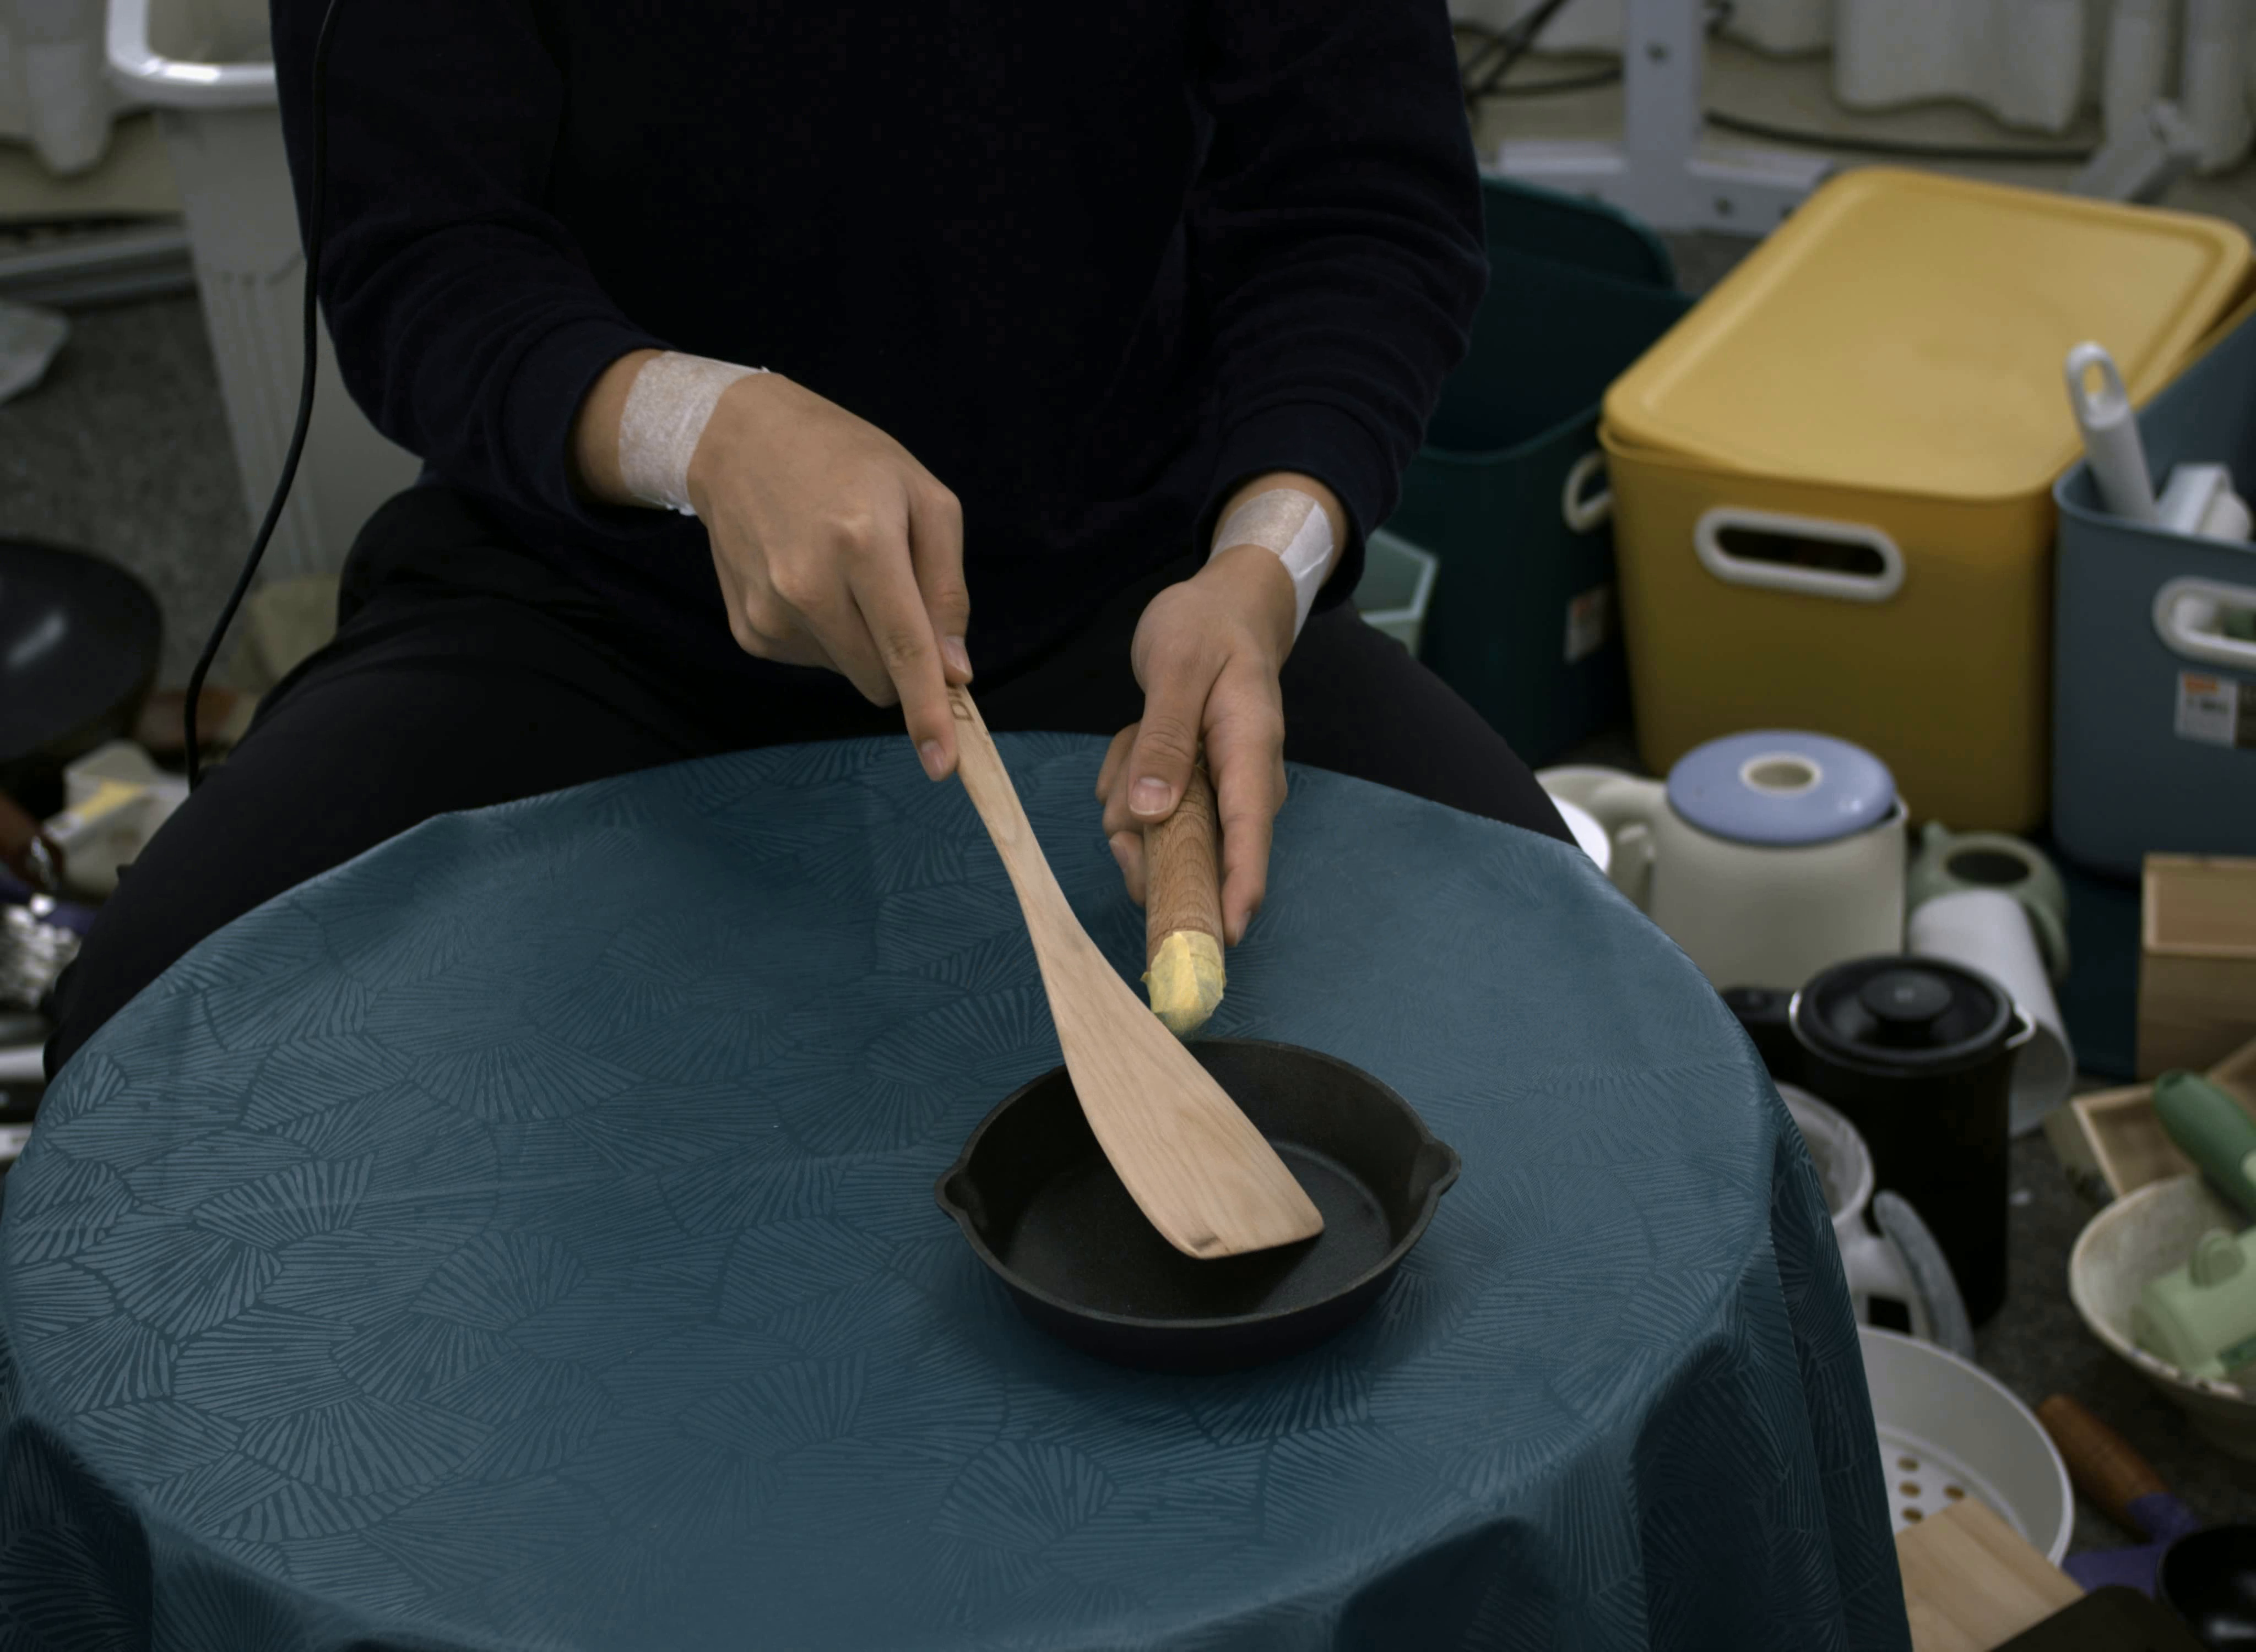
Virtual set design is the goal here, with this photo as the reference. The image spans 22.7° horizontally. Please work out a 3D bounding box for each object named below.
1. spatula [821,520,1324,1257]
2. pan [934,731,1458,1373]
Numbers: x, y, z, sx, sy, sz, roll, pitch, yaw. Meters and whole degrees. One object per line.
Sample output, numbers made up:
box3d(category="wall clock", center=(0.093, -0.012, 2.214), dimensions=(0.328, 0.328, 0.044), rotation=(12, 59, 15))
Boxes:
box3d(category="spatula", center=(-0.028, 0.017, 1.876), dimensions=(0.080, 0.016, 0.331), rotation=(6, 45, -45))
box3d(category="pan", center=(0.023, 0.073, 1.877), dimensions=(0.168, 0.049, 0.330), rotation=(-2, 33, 2))
